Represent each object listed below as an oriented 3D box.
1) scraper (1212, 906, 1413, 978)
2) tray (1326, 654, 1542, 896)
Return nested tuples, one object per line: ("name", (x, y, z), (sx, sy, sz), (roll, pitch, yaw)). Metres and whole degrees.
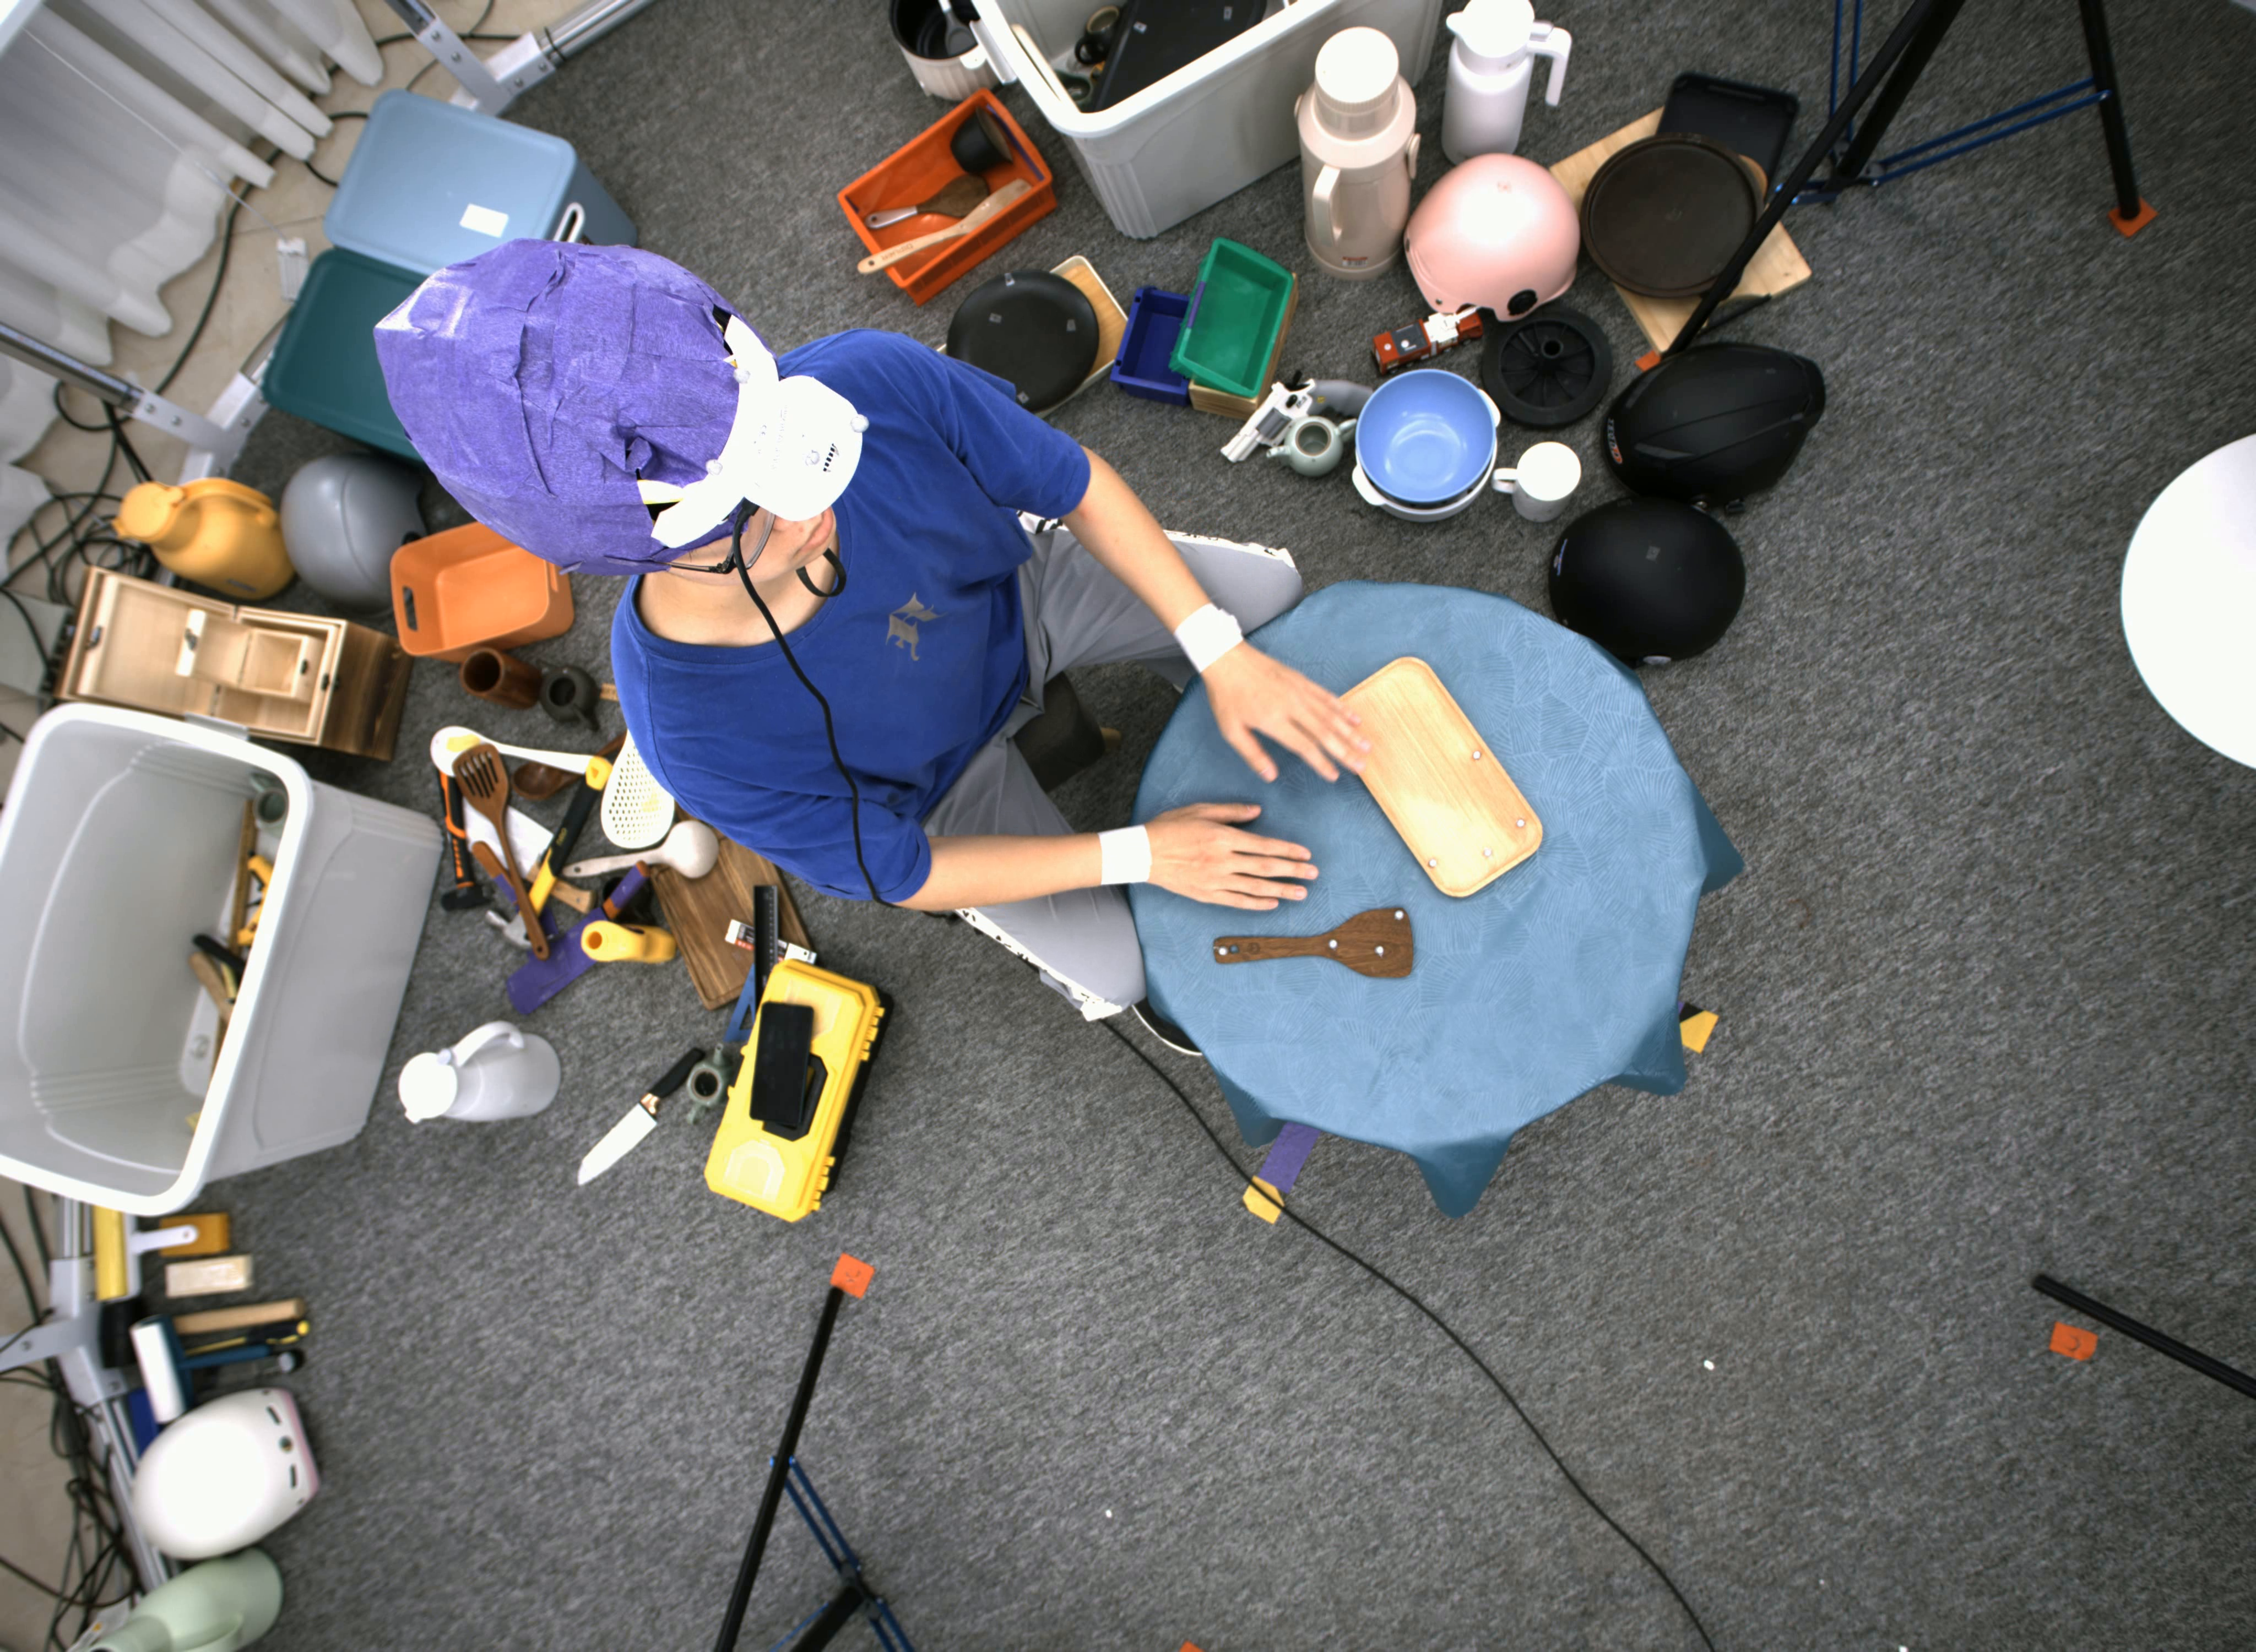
("scraper", (0.194, 0.126, 1.465), (0.212, 0.011, 0.075), (-3, 86, 11))
("tray", (0.320, -0.056, 1.446), (0.131, 0.023, 0.249), (-33, 81, 5))
